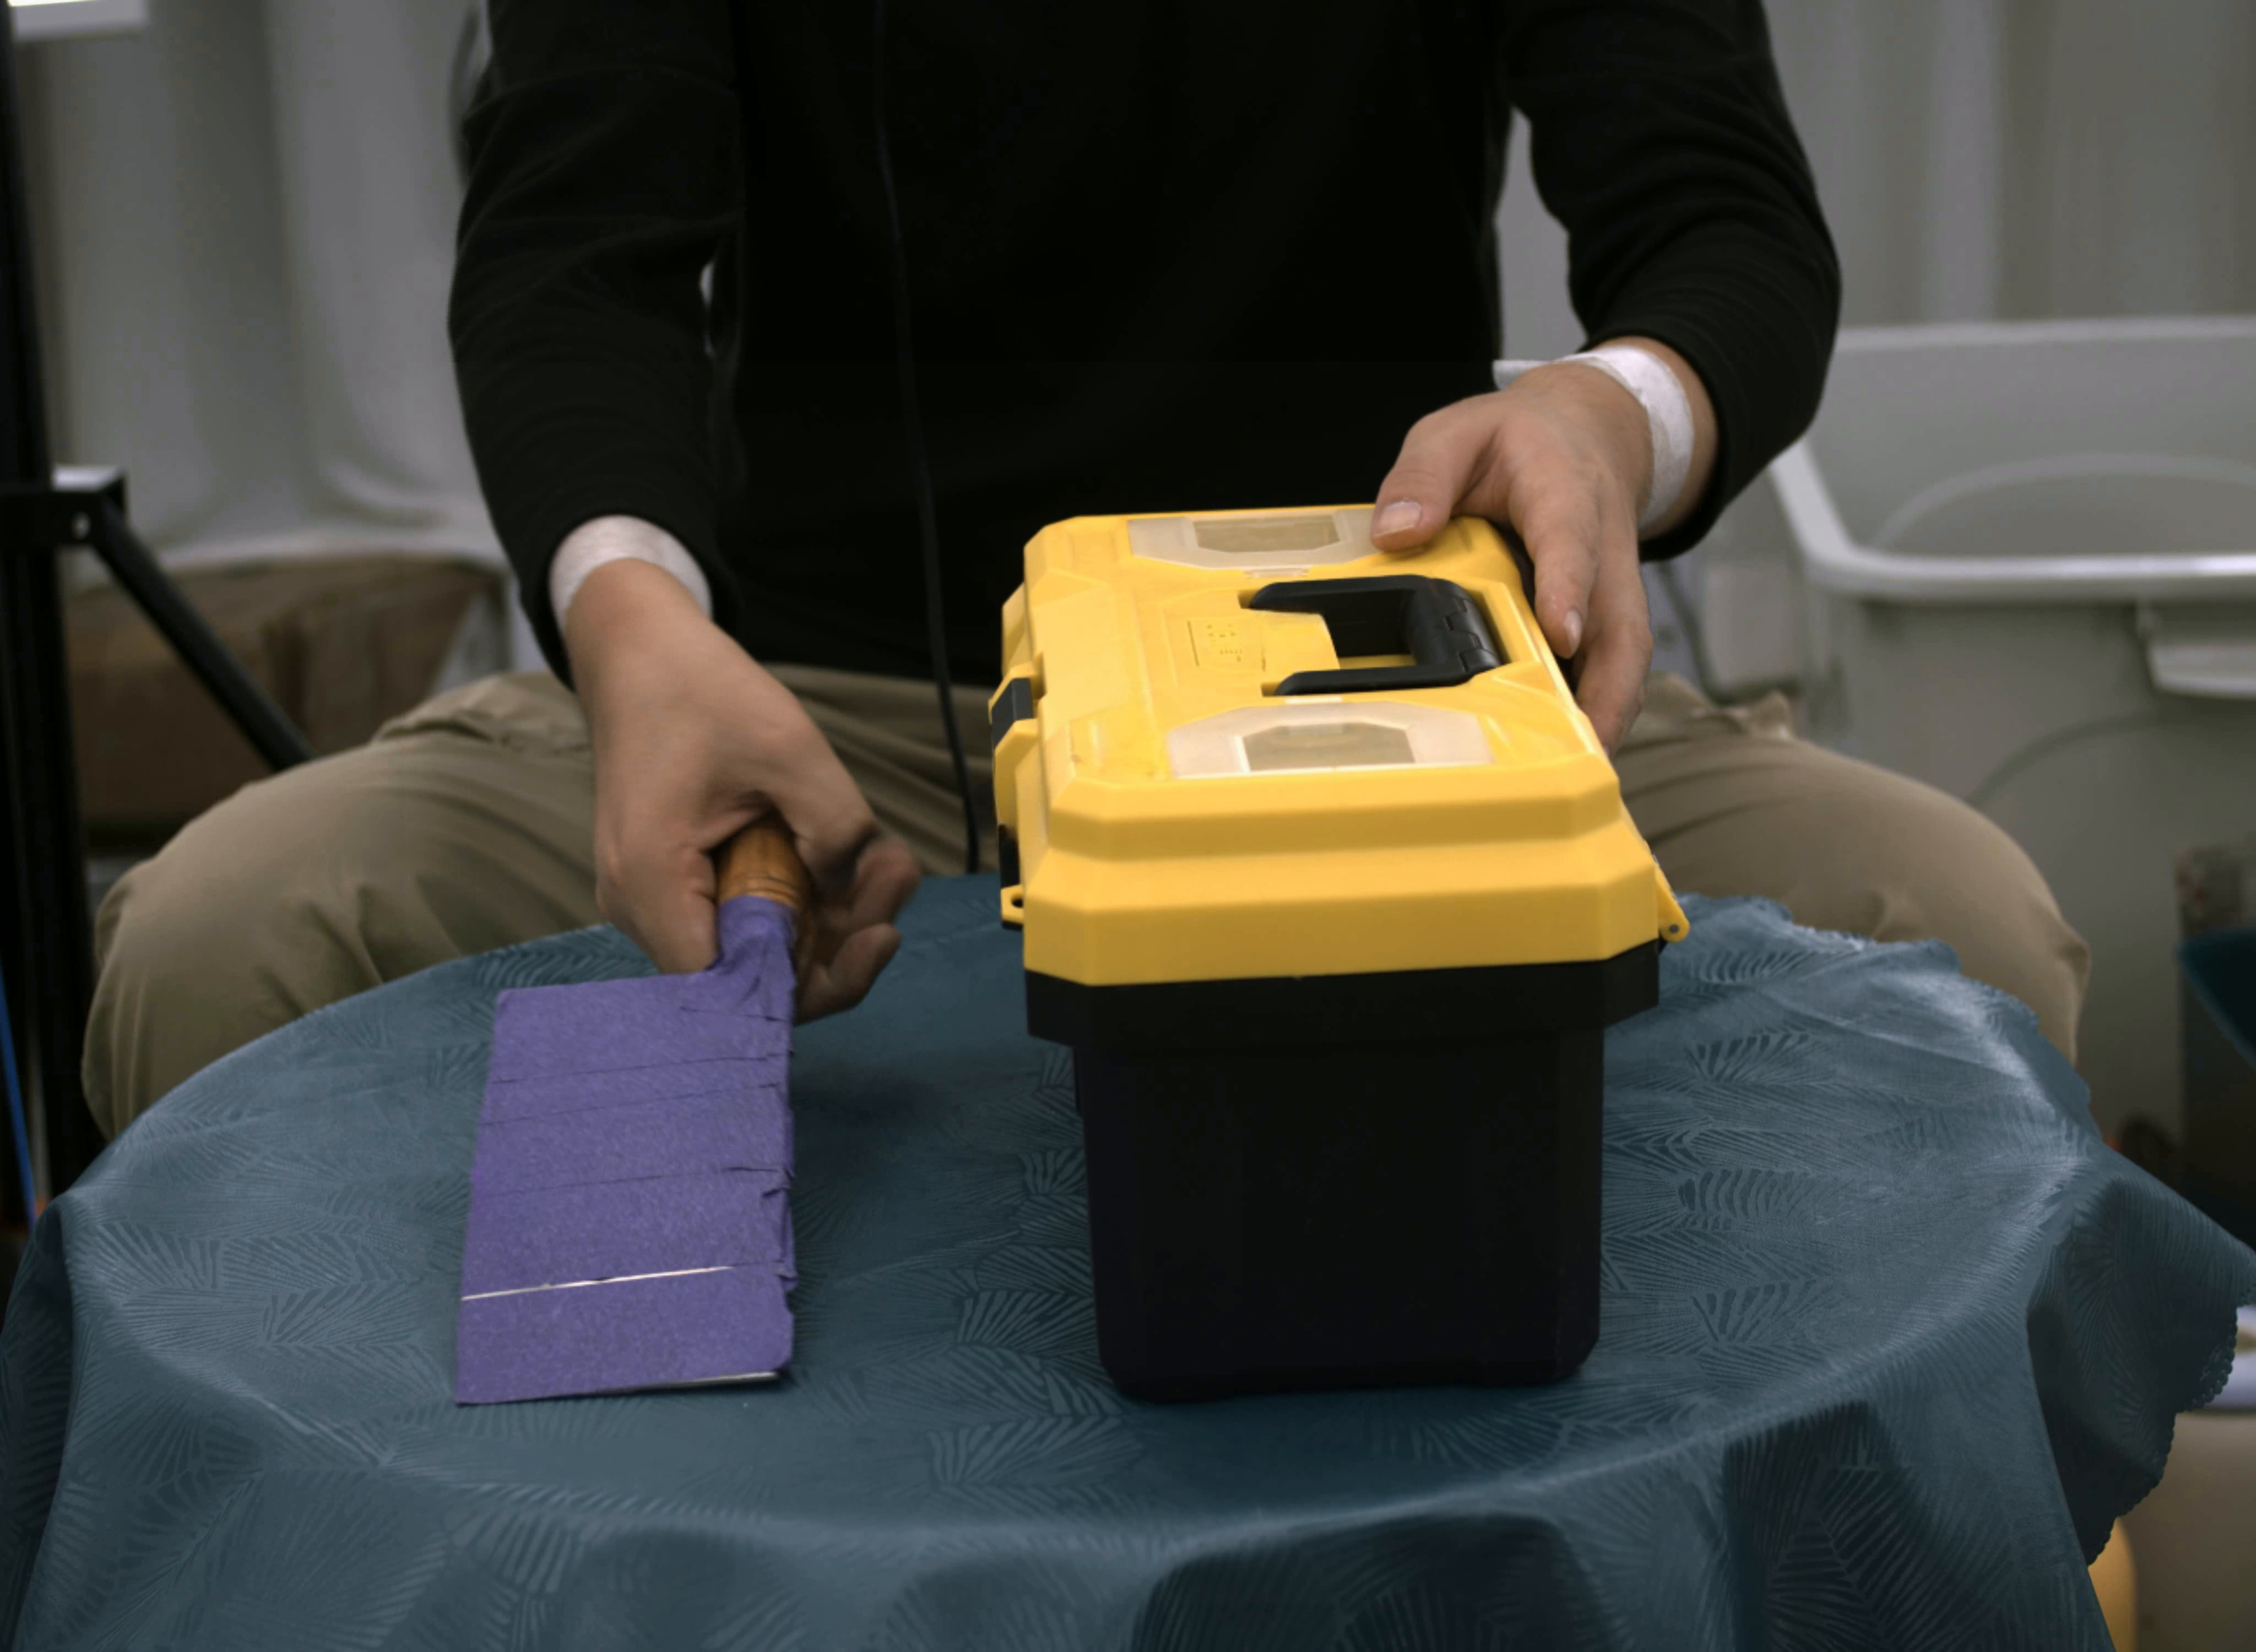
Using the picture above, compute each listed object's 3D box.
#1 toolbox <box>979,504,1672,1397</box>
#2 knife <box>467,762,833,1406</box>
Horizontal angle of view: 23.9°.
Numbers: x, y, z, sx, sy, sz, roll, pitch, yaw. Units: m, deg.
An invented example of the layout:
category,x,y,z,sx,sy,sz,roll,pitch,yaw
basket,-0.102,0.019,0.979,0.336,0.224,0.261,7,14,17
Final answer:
category,x,y,z,sx,sy,sz,roll,pitch,yaw
toolbox,0.050,0.027,1.521,0.180,0.173,0.353,-2,15,-1
knife,-0.138,0.069,1.549,0.103,0.032,0.318,-5,28,-1
